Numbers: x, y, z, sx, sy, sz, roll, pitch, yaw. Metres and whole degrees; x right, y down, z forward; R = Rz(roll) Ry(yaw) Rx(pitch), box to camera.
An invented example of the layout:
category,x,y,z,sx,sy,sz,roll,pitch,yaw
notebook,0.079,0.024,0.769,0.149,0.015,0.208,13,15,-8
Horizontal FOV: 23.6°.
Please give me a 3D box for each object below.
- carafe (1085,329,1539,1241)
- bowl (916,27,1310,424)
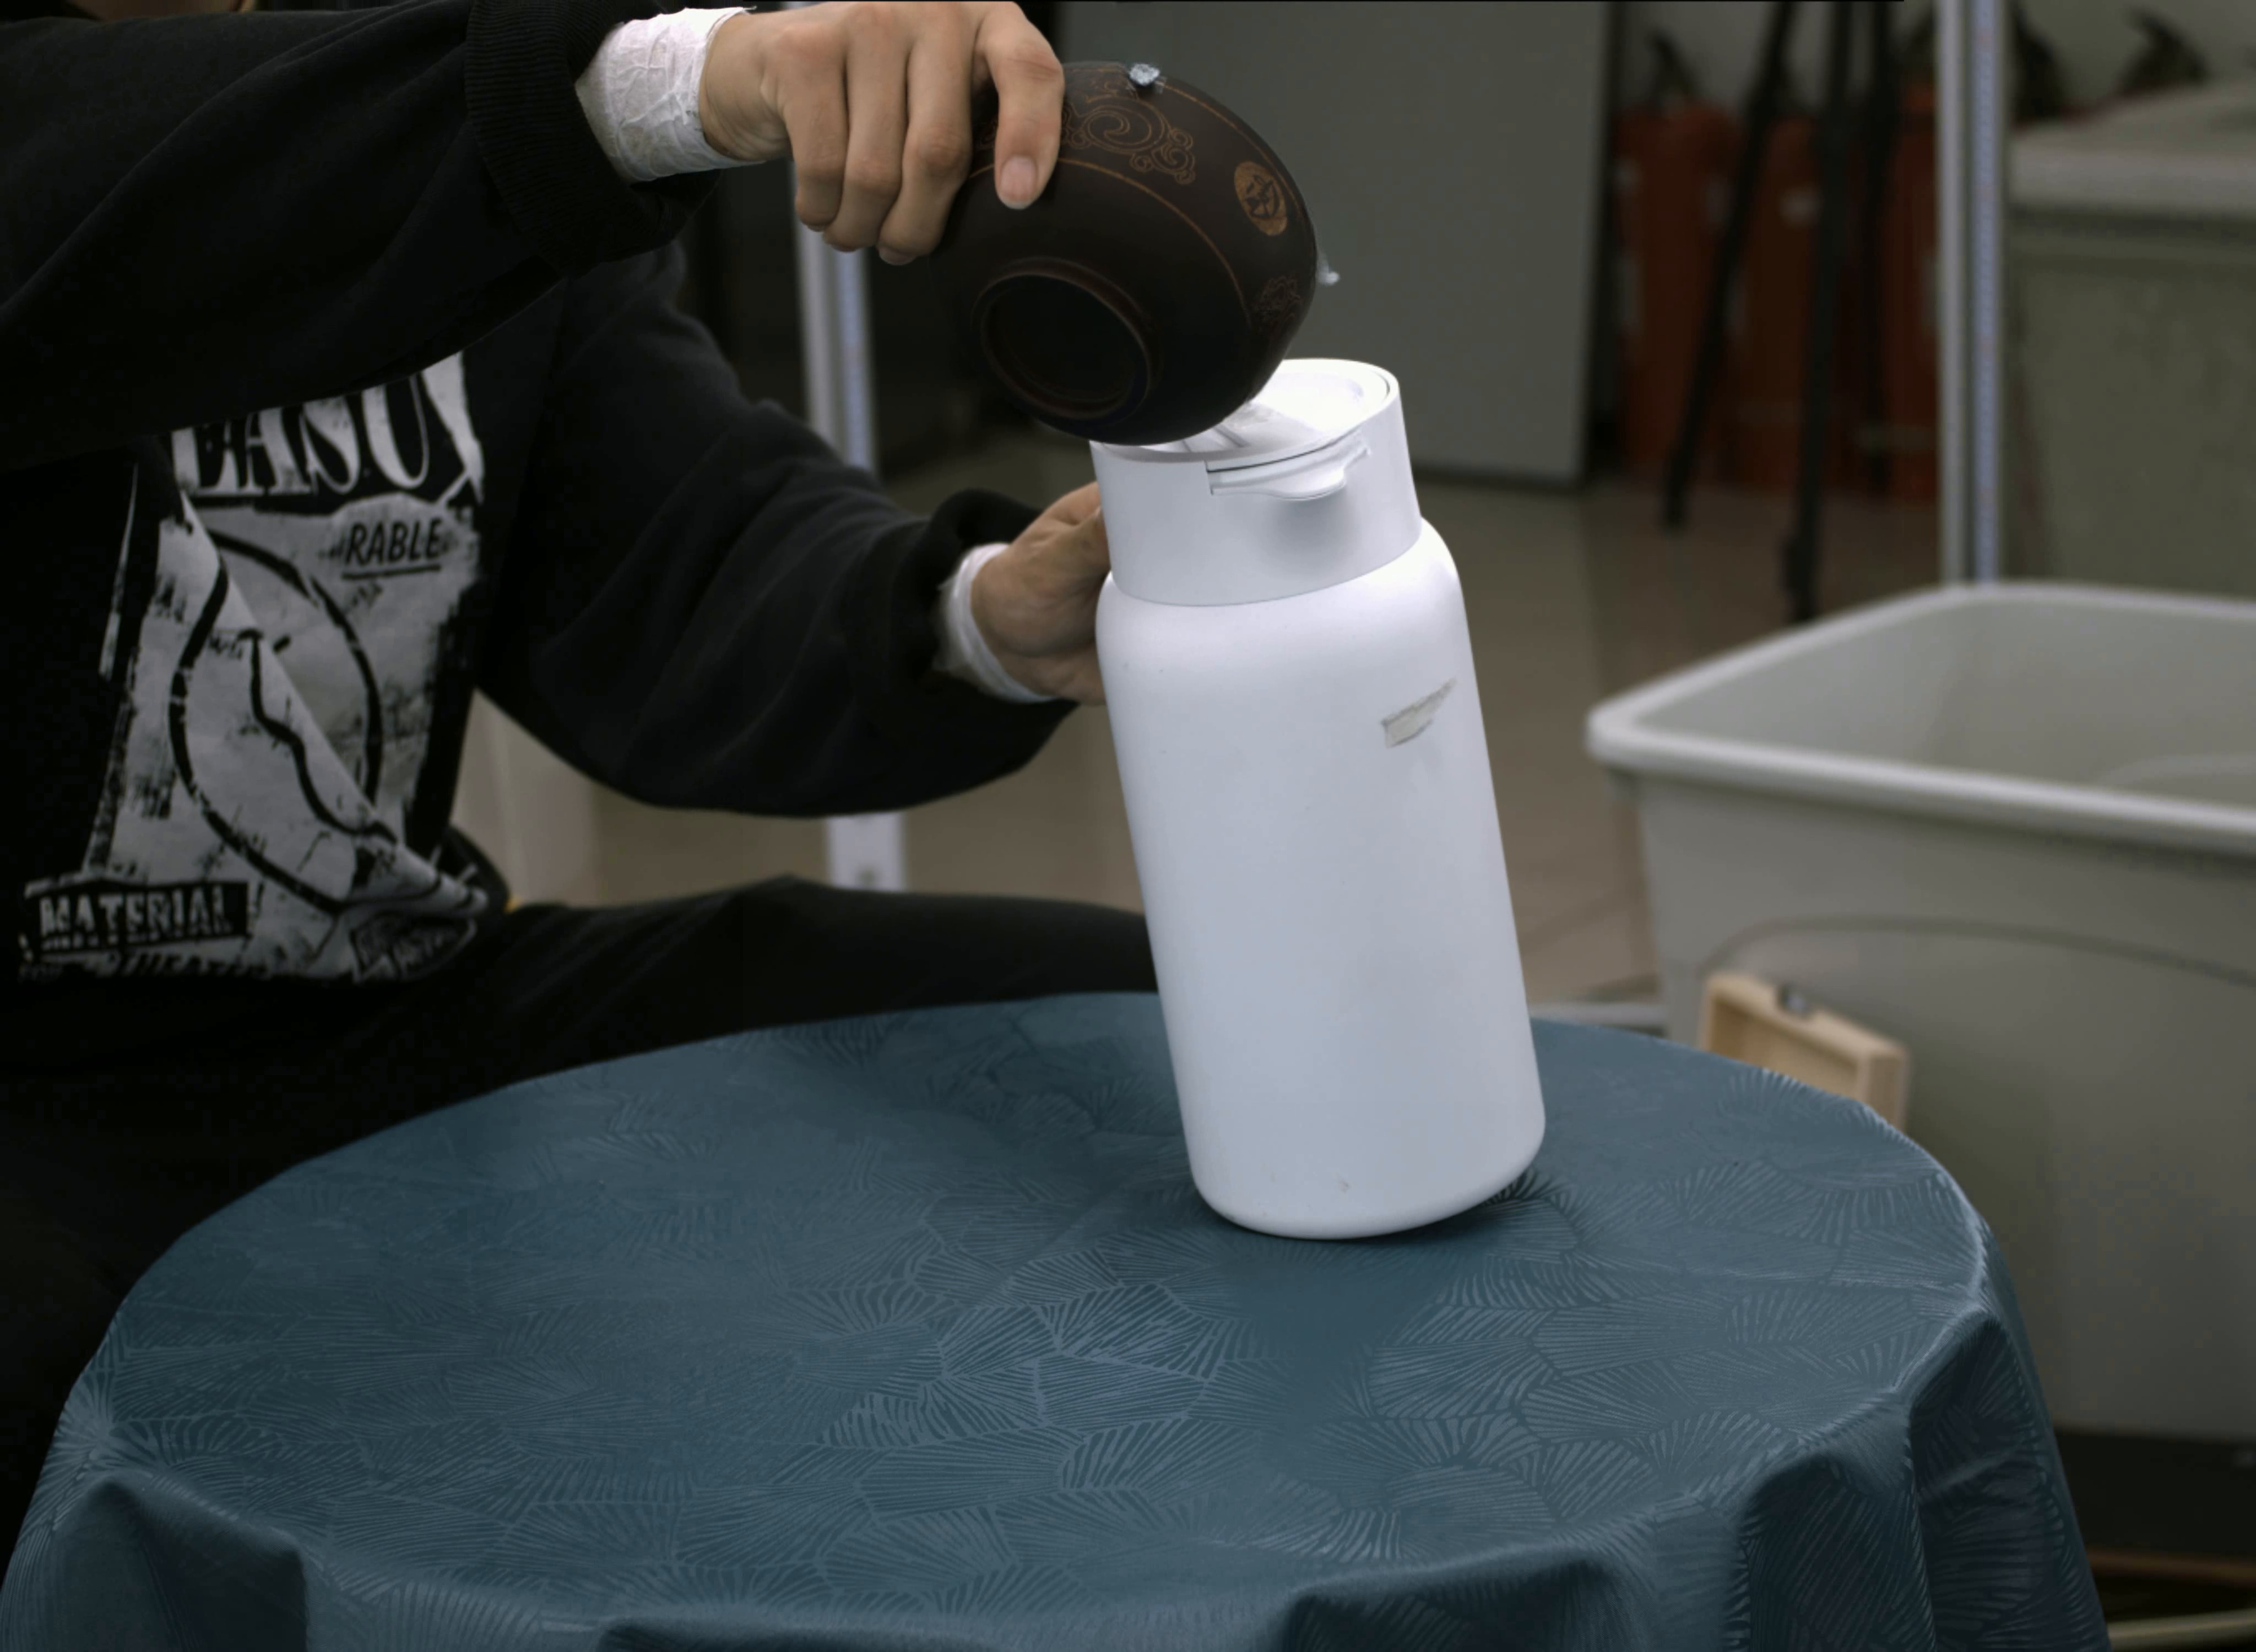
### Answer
category,x,y,z,sx,sy,sz,roll,pitch,yaw
carafe,0.049,-0.016,1.724,0.122,0.271,0.174,-18,21,-13
bowl,-0.010,-0.168,1.602,0.118,0.118,0.069,4,43,28
